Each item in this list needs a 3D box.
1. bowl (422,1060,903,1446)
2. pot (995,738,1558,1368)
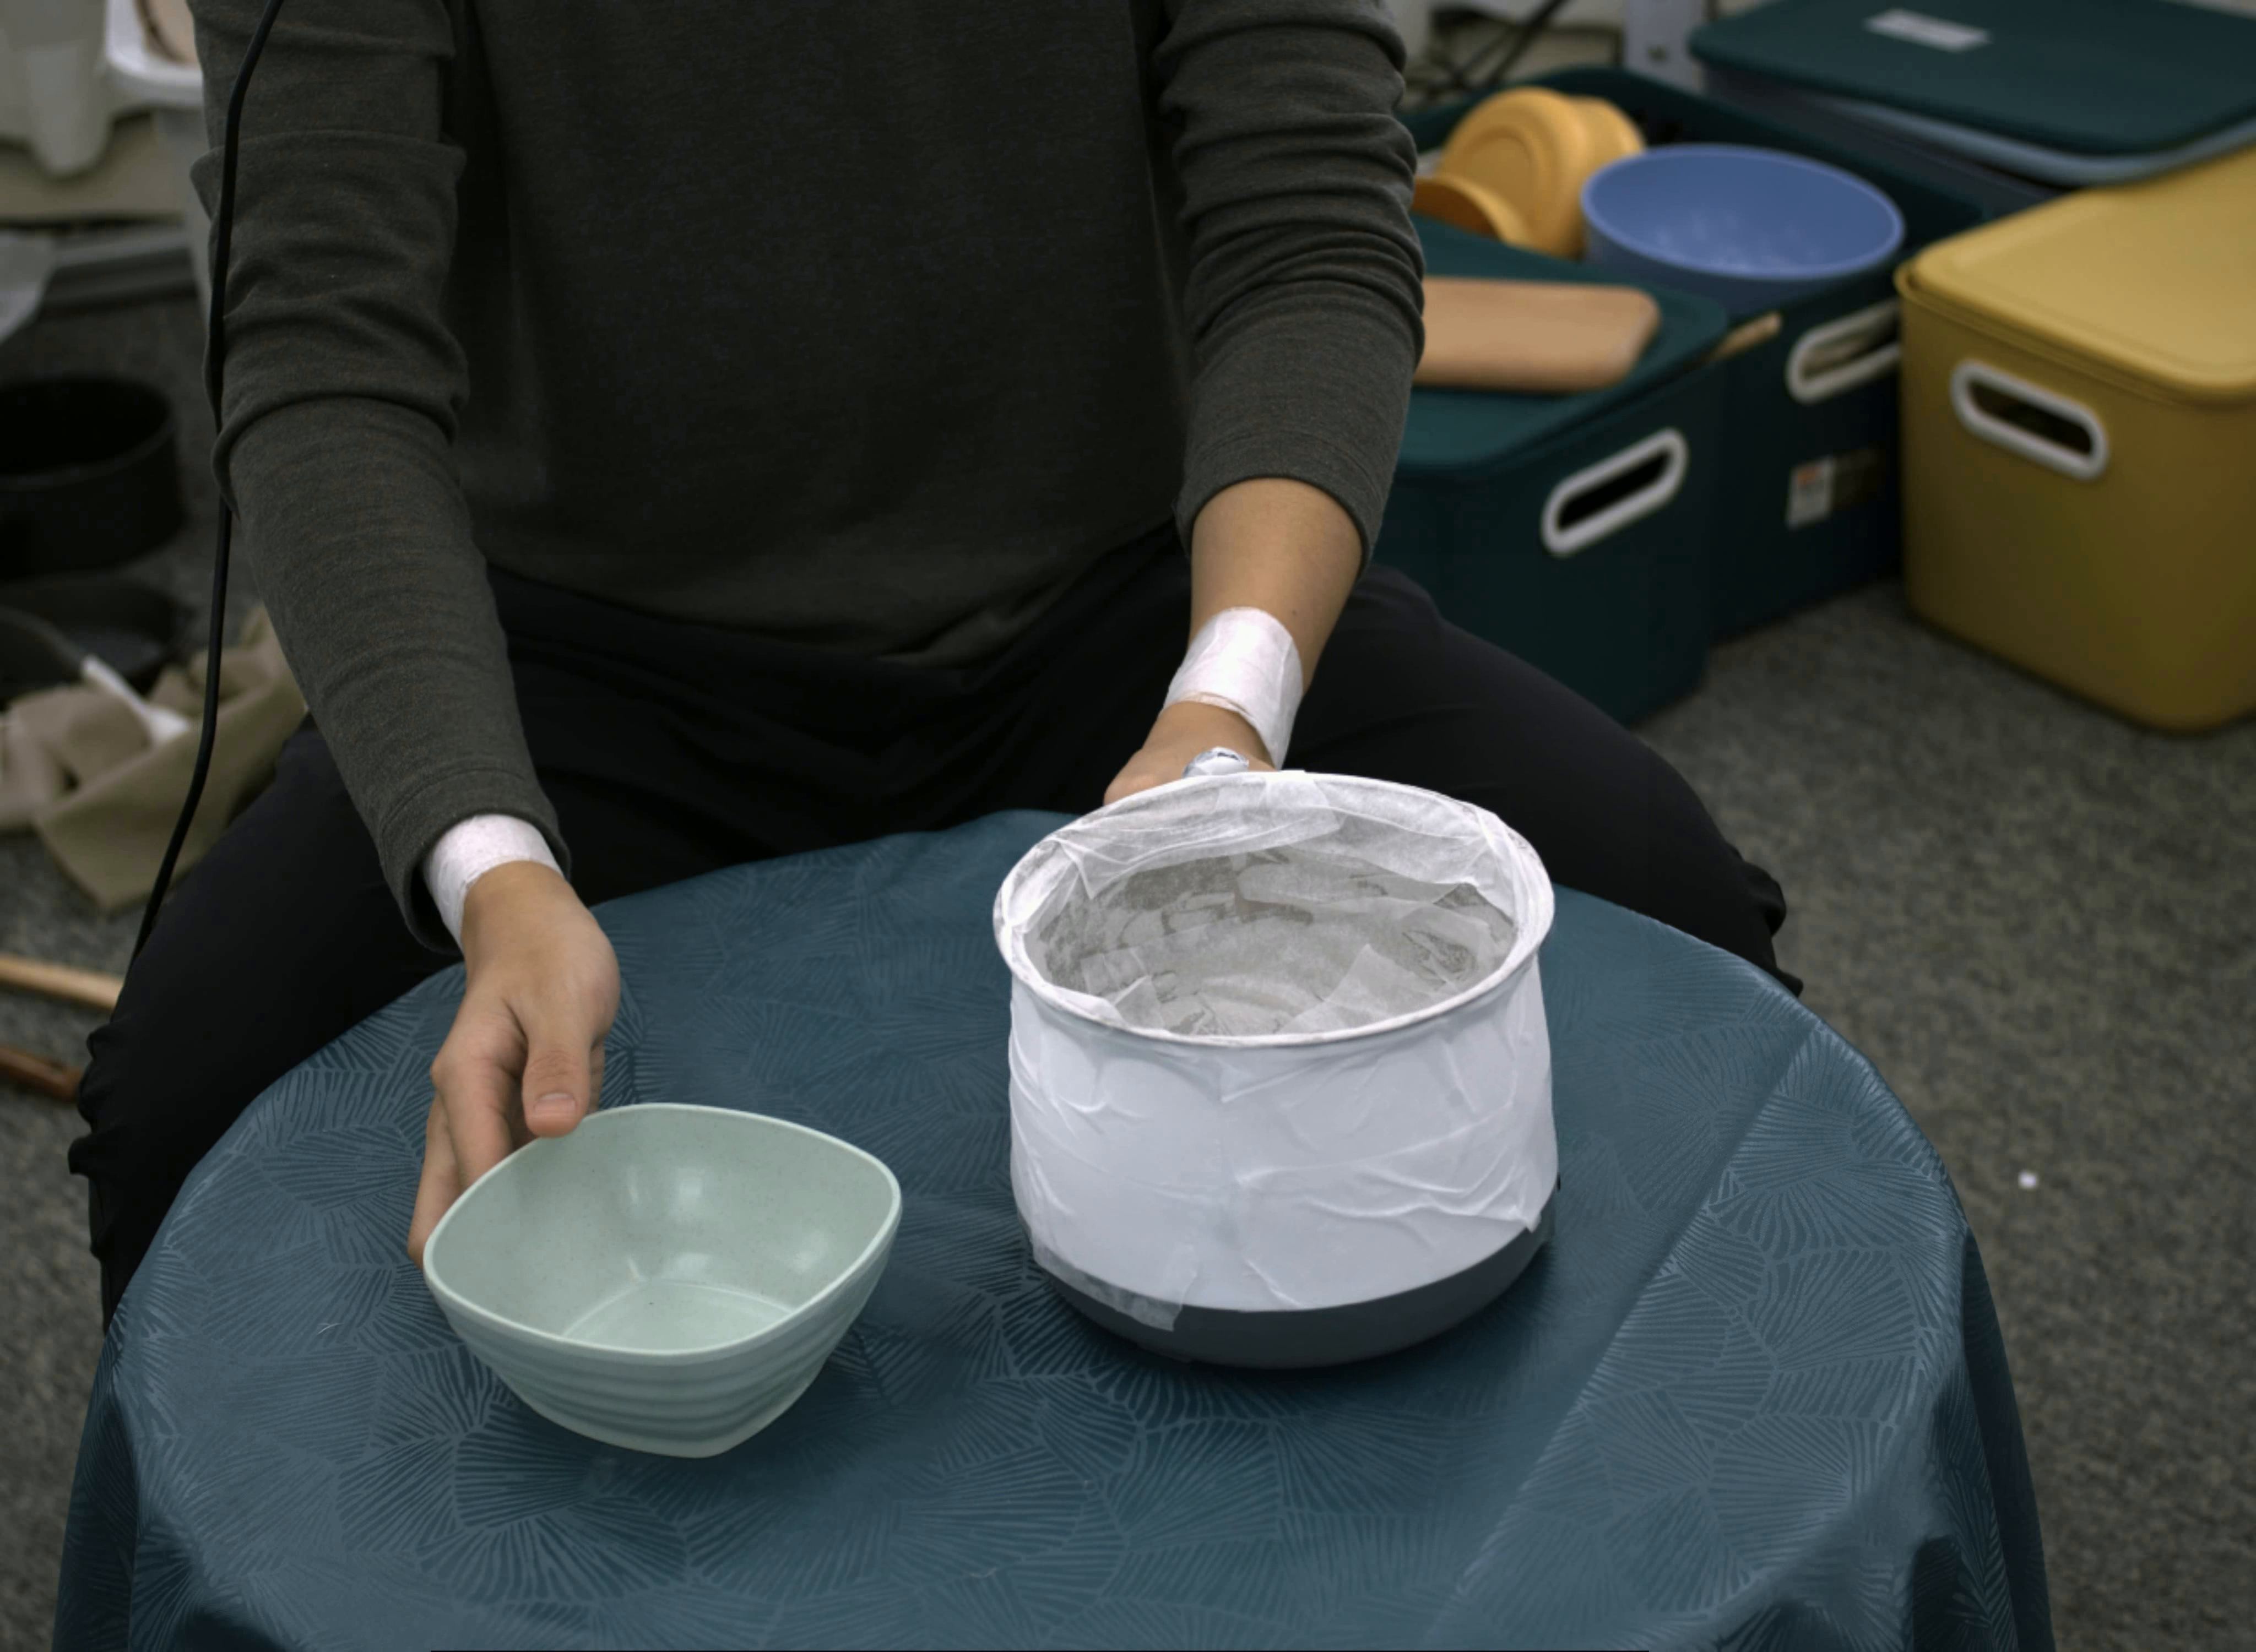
[{"bbox_3d":[-0.144,0.142,1.761,0.151,0.058,0.154,0,35,1],"label":"bowl"},{"bbox_3d":[0.044,0.065,1.816,0.178,0.135,0.236,-6,28,-8],"label":"pot"}]
